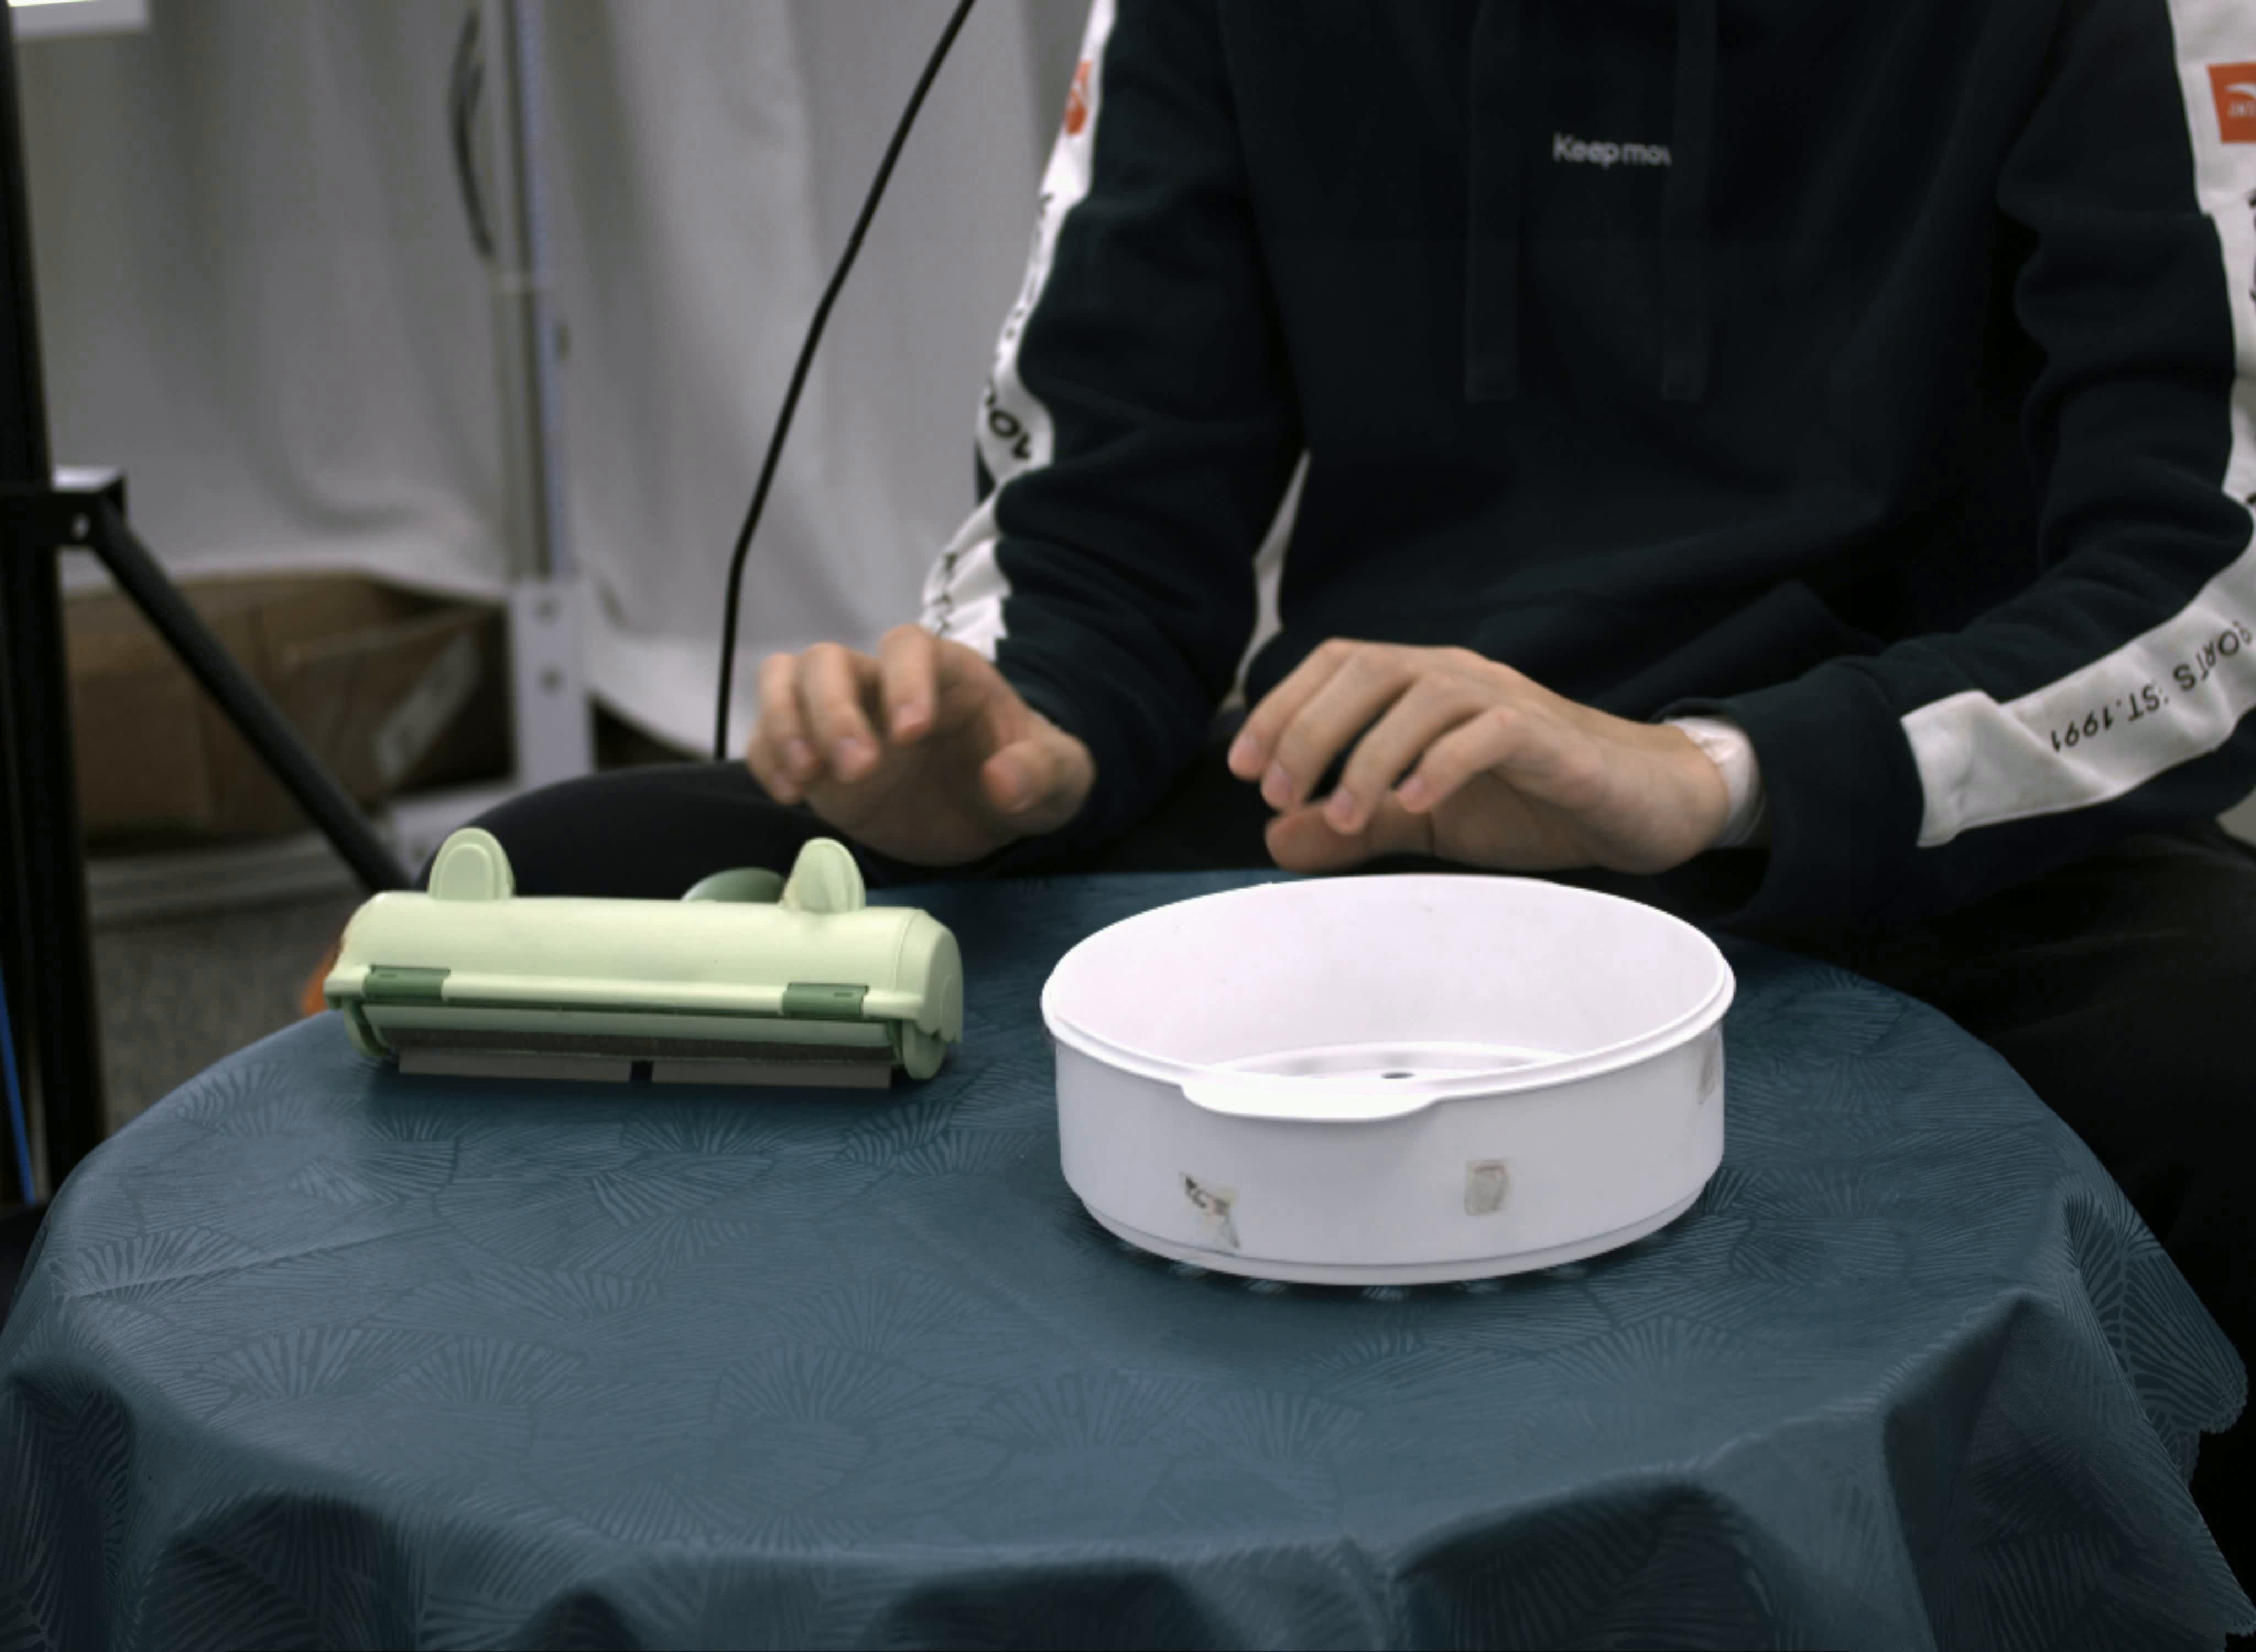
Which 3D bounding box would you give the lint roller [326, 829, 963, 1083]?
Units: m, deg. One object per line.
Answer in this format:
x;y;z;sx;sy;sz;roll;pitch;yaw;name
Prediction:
-0.140;0.025;1.733;0.200;0.082;0.182;1;21;14;lint roller

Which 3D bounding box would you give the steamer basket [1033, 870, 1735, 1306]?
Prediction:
0.075;0.076;1.533;0.204;0.069;0.229;1;18;16;steamer basket
